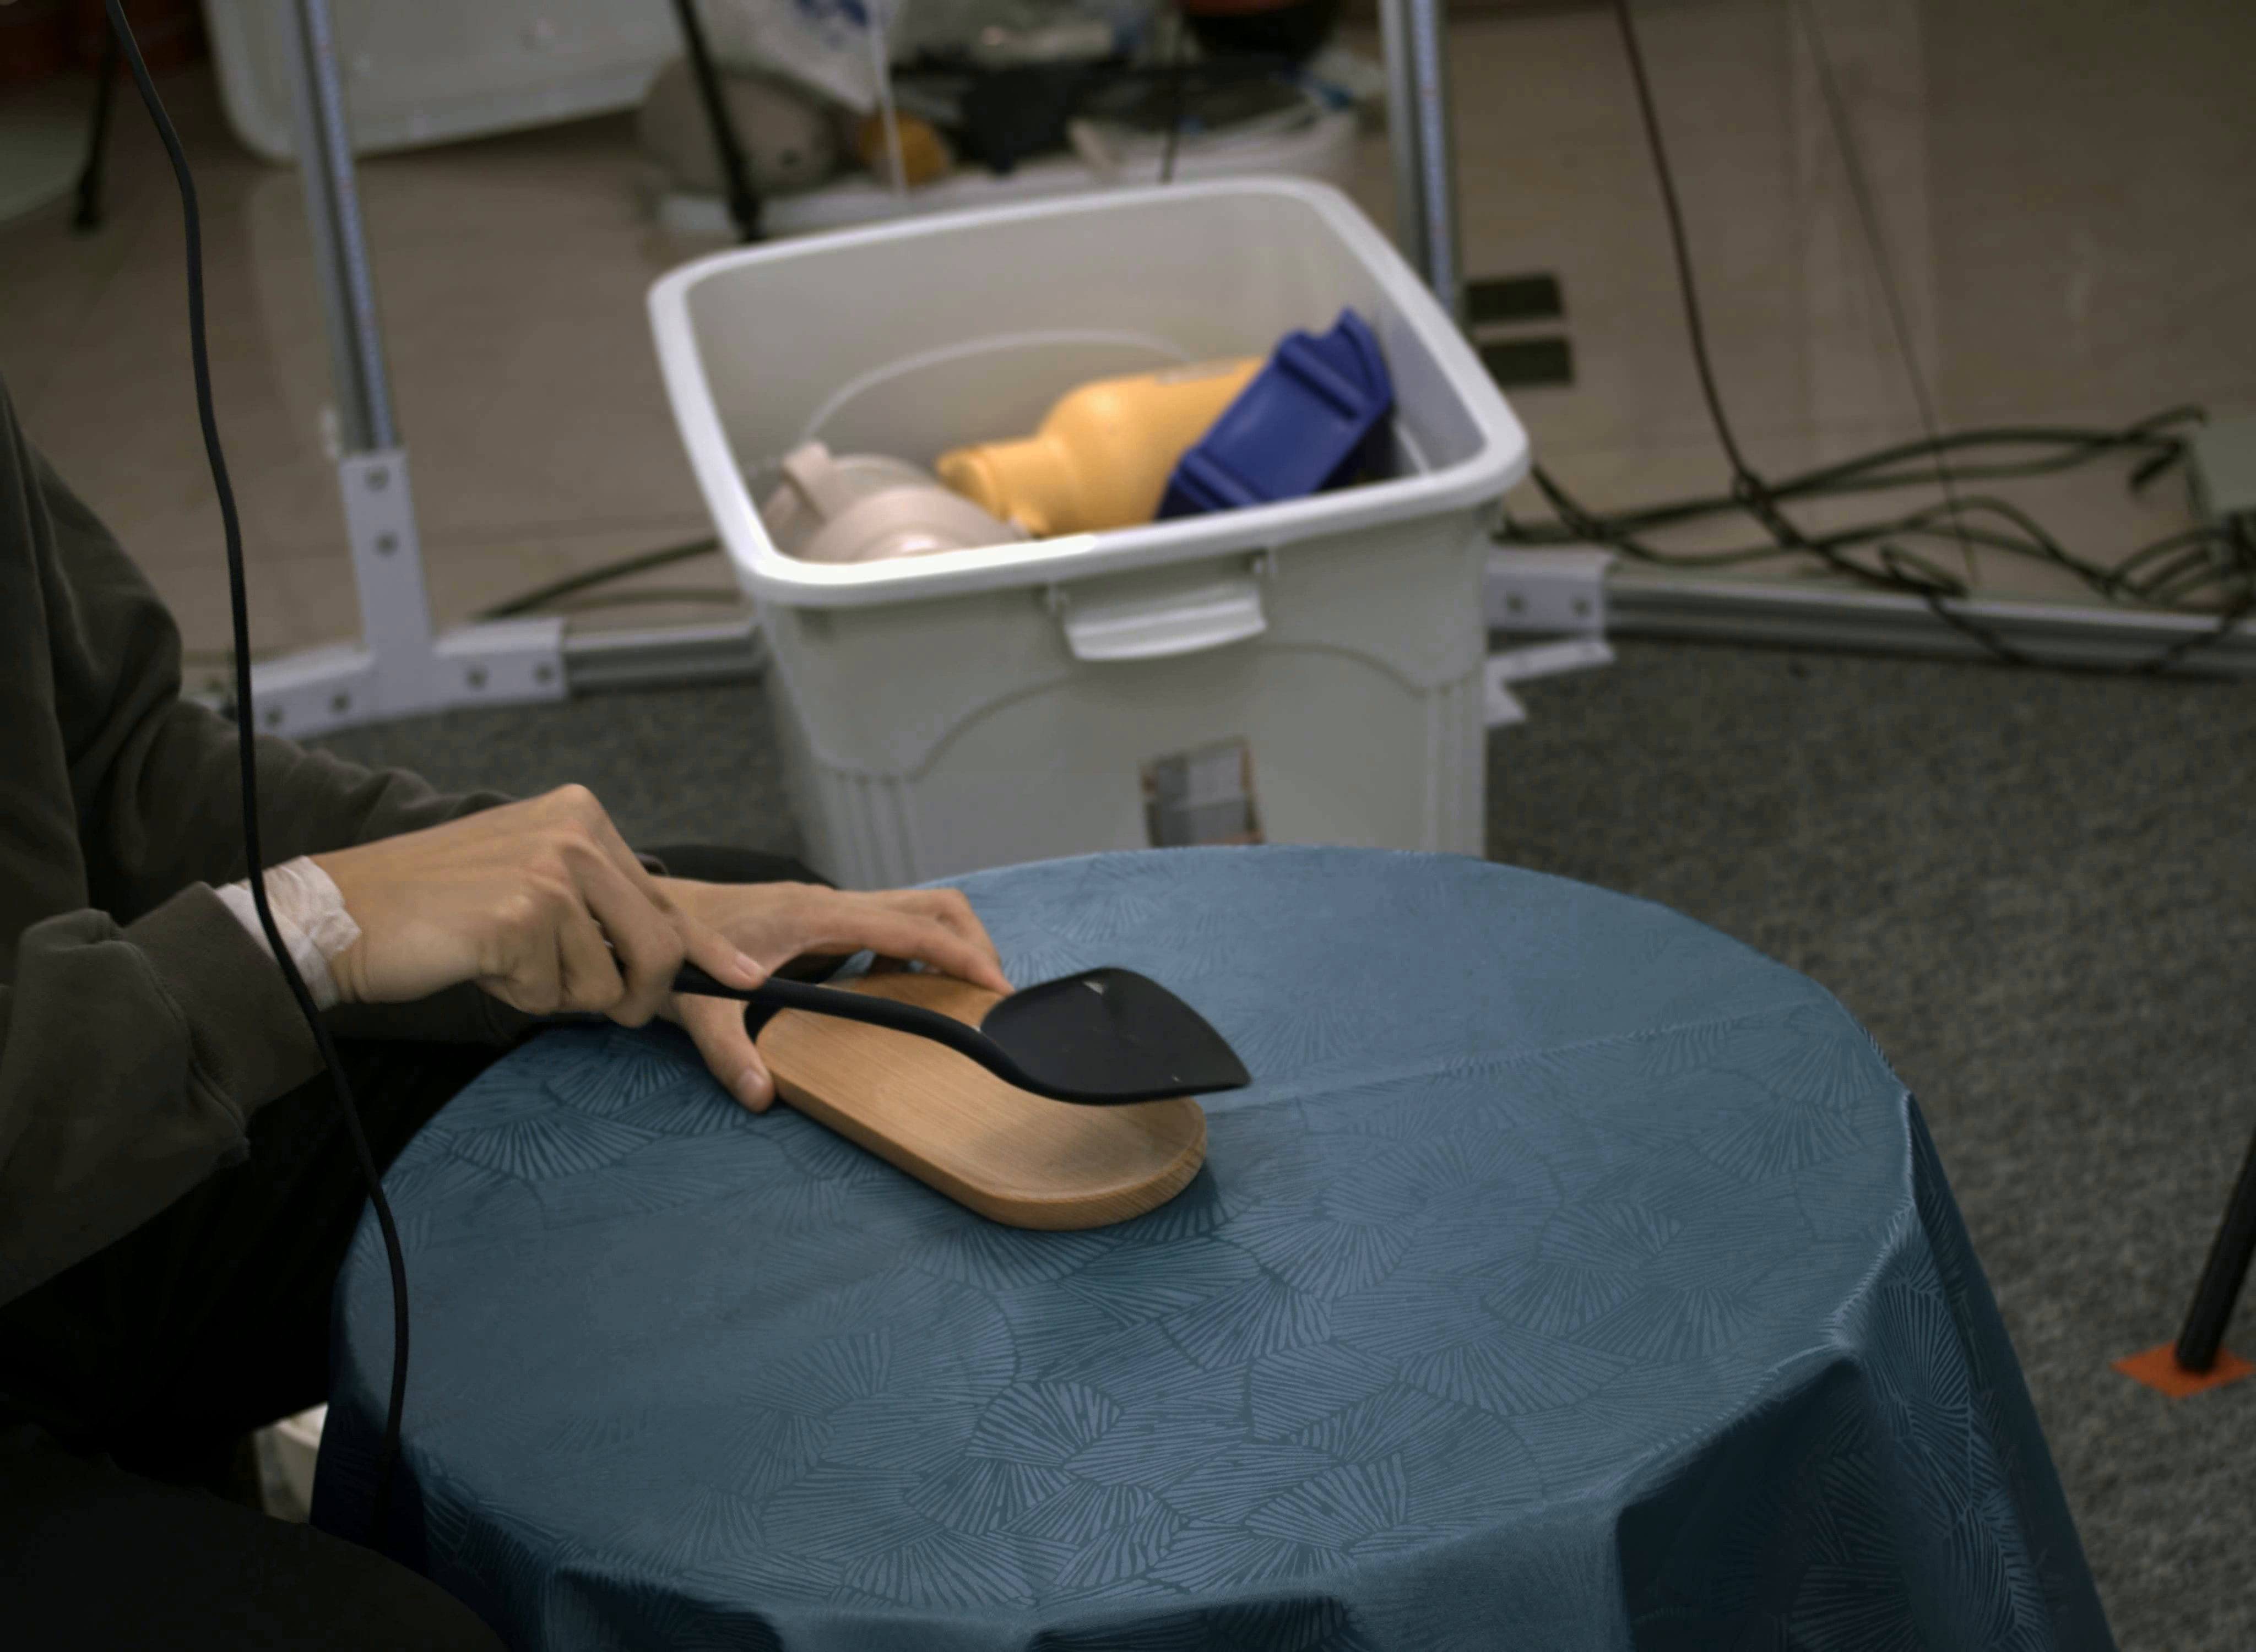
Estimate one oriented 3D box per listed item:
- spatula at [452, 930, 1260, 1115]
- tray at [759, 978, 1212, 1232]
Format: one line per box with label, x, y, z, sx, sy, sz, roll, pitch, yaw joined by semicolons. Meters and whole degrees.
spatula;-0.102;0.062;2.081;0.327;0.041;0.098;15;17;-35
tray;-0.057;0.108;2.209;0.101;0.020;0.229;-24;31;-30
